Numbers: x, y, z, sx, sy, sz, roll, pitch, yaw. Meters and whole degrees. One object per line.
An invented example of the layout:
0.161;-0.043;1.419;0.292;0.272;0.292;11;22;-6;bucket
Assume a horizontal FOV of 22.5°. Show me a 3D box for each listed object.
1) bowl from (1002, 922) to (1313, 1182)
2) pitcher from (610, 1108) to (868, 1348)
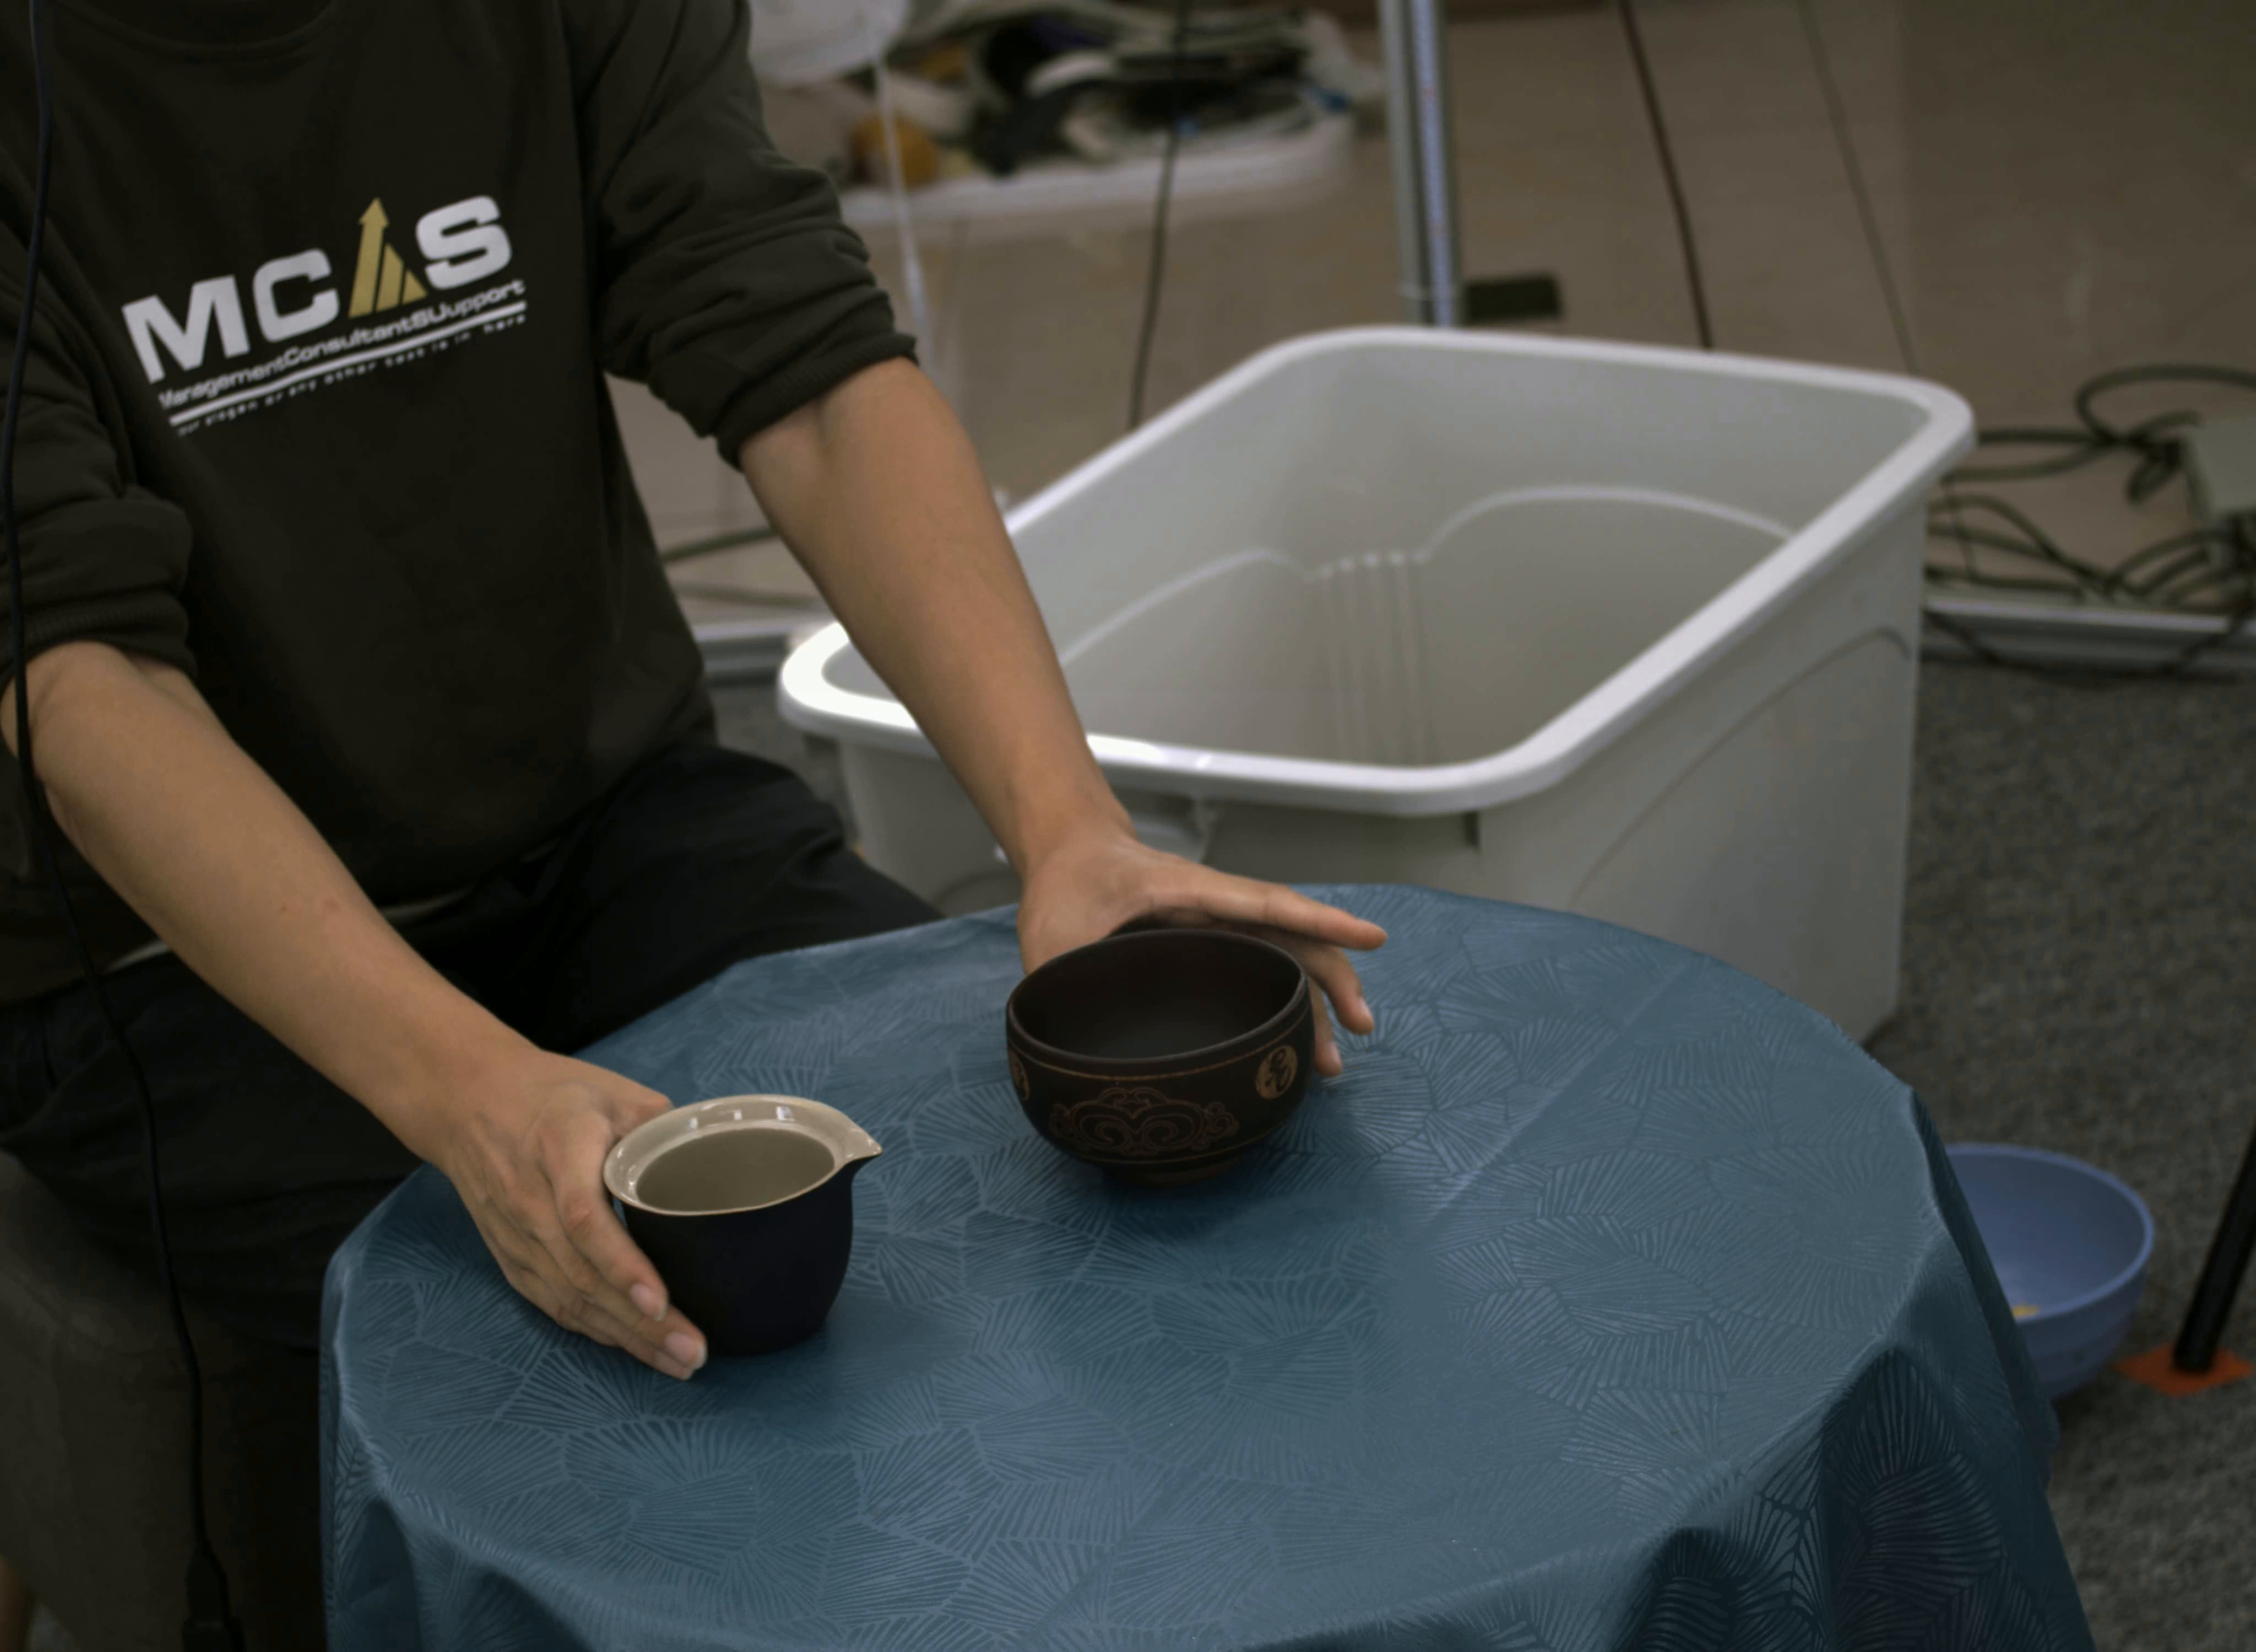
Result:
0.013;0.092;2.158;0.118;0.071;0.116;-5;27;3;bowl
-0.138;0.147;2.071;0.096;0.072;0.082;-2;24;10;pitcher
